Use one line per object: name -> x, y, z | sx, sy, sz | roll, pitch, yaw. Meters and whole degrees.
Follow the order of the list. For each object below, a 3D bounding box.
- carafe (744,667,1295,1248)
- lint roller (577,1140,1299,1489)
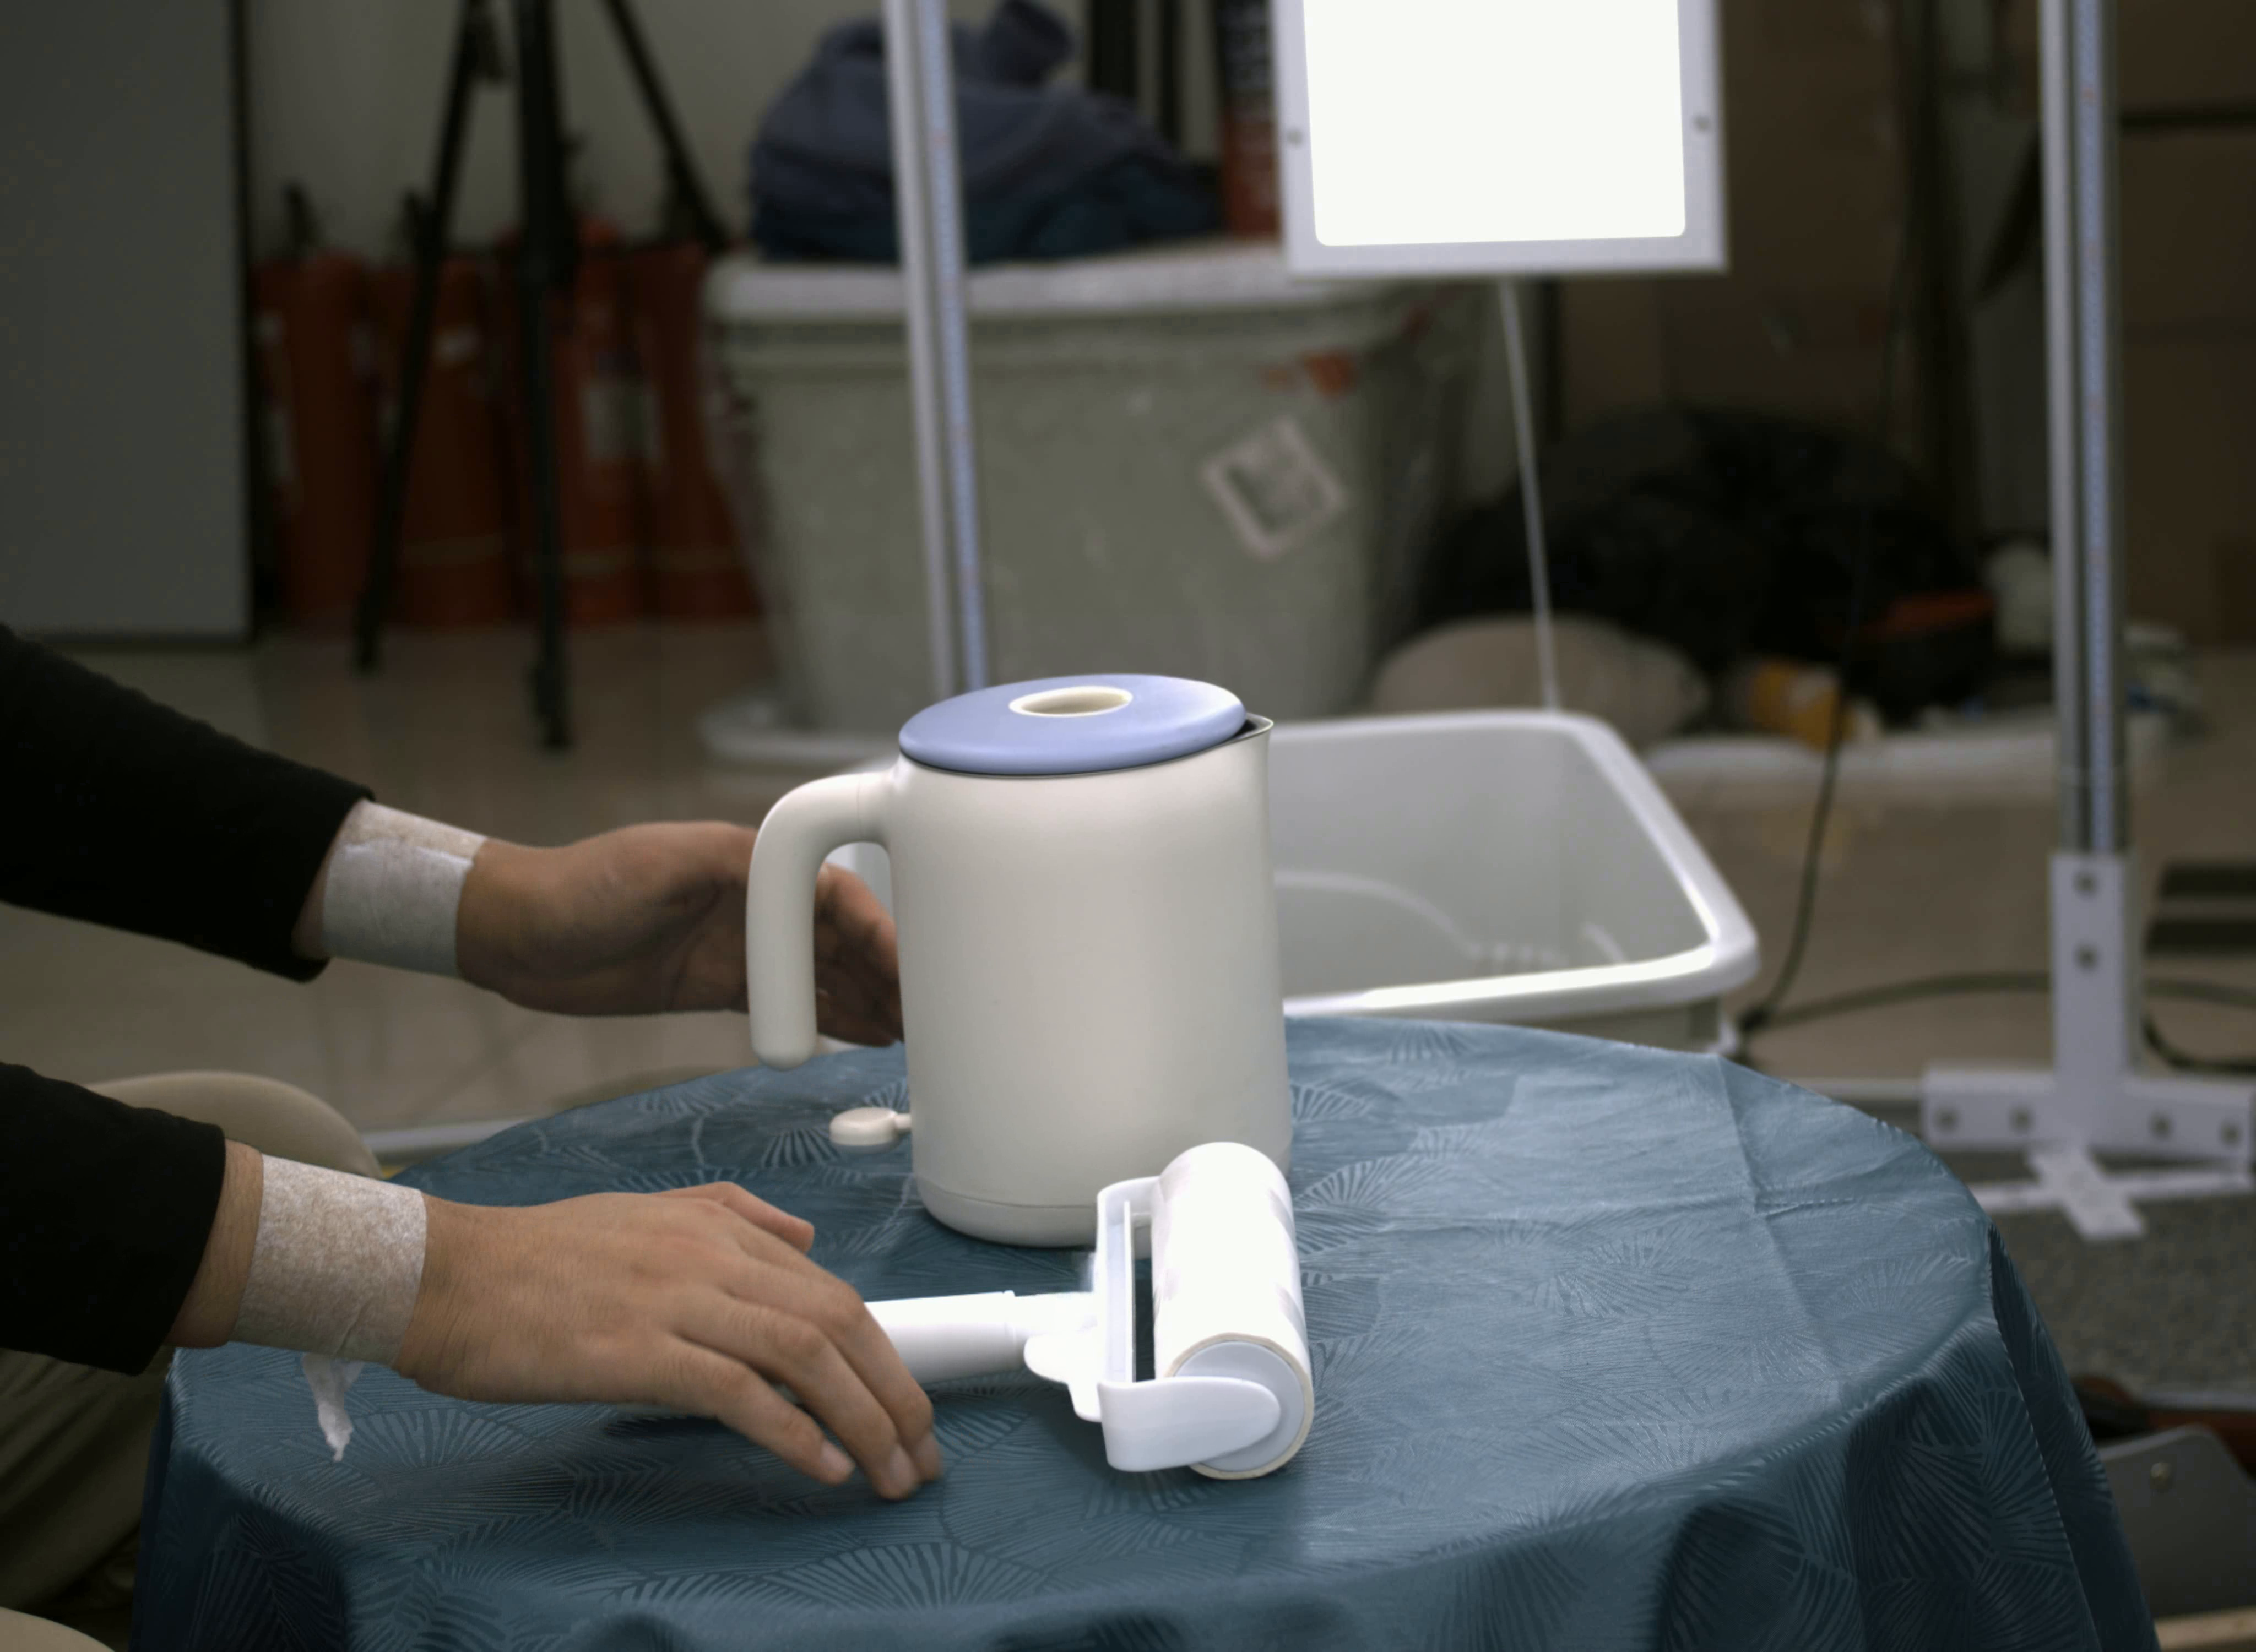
carafe -> -0.037, 0.046, 1.879 | 0.192, 0.183, 0.131 | -5, 13, 8
lint roller -> -0.060, 0.157, 1.707 | 0.225, 0.048, 0.202 | -6, 15, 2
